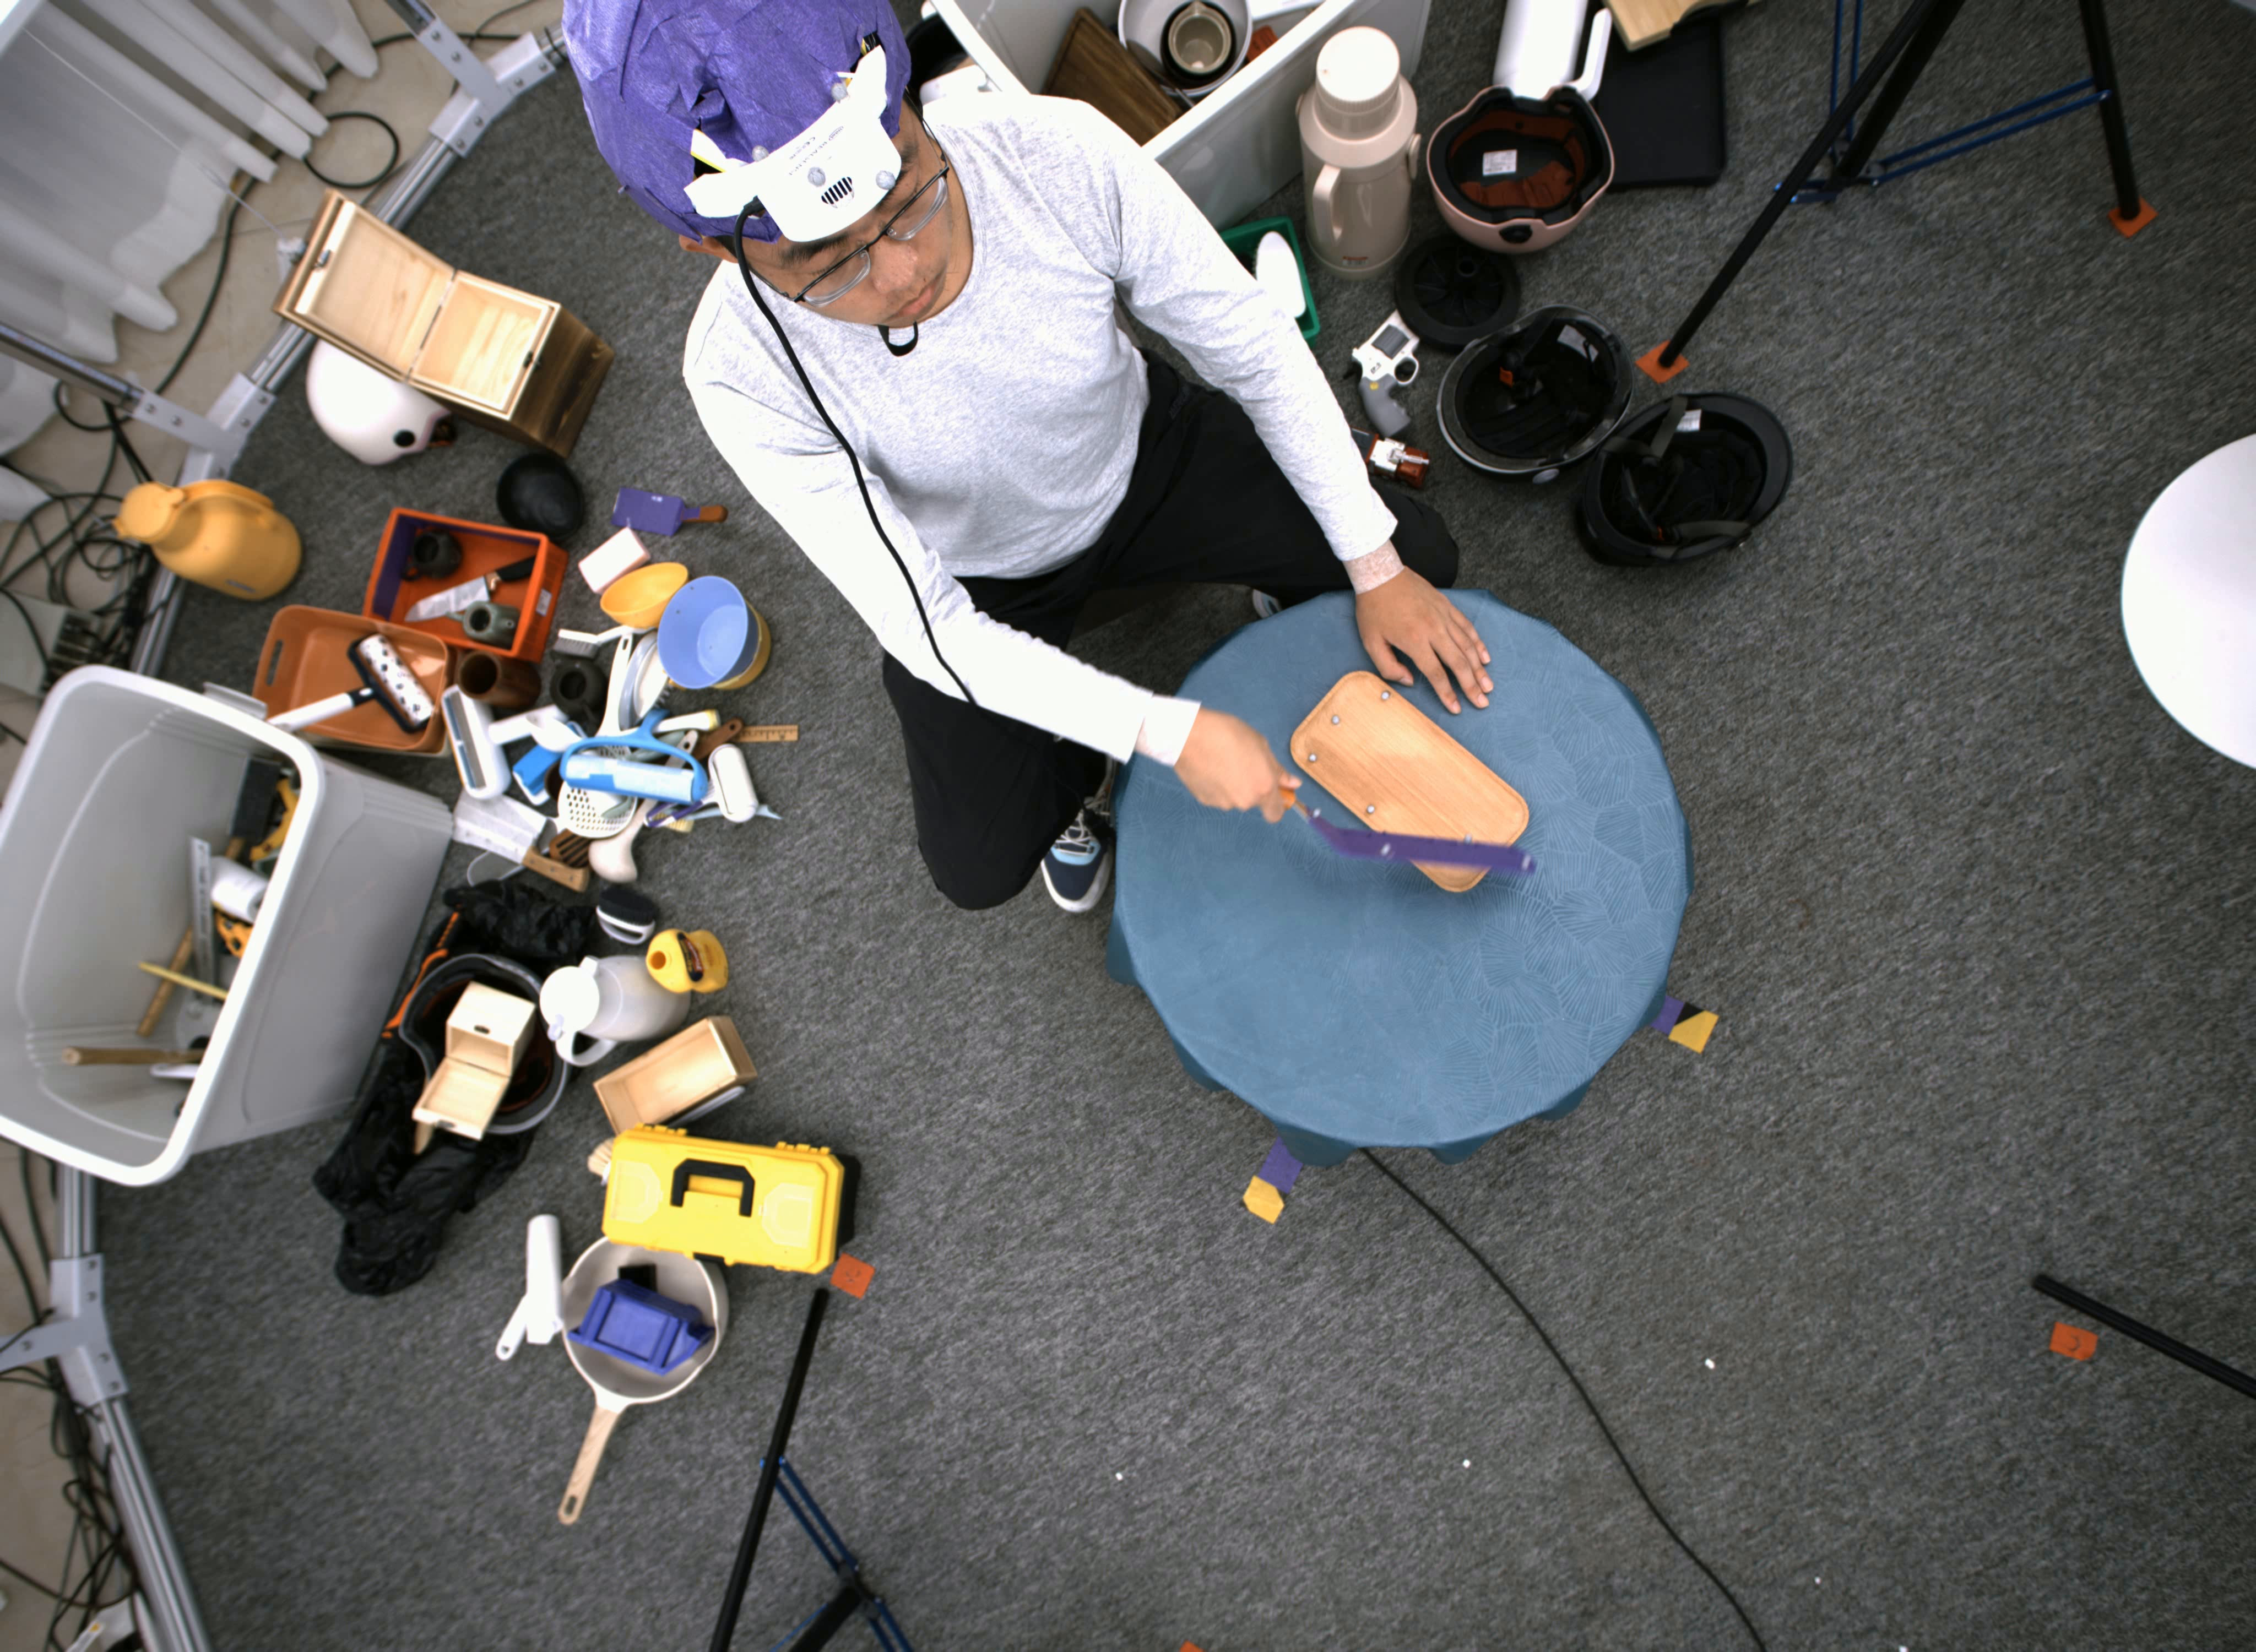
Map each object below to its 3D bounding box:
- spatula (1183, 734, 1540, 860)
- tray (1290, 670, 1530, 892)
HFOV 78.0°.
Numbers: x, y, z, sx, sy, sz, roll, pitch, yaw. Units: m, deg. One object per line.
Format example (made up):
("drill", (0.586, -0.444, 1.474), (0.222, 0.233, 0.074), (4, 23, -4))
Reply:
("spatula", (0.228, -0.028, 1.342), (0.360, 0.074, 0.088), (28, 105, -10))
("tray", (0.296, -0.050, 1.454), (0.249, 0.023, 0.131), (42, 98, 10))
